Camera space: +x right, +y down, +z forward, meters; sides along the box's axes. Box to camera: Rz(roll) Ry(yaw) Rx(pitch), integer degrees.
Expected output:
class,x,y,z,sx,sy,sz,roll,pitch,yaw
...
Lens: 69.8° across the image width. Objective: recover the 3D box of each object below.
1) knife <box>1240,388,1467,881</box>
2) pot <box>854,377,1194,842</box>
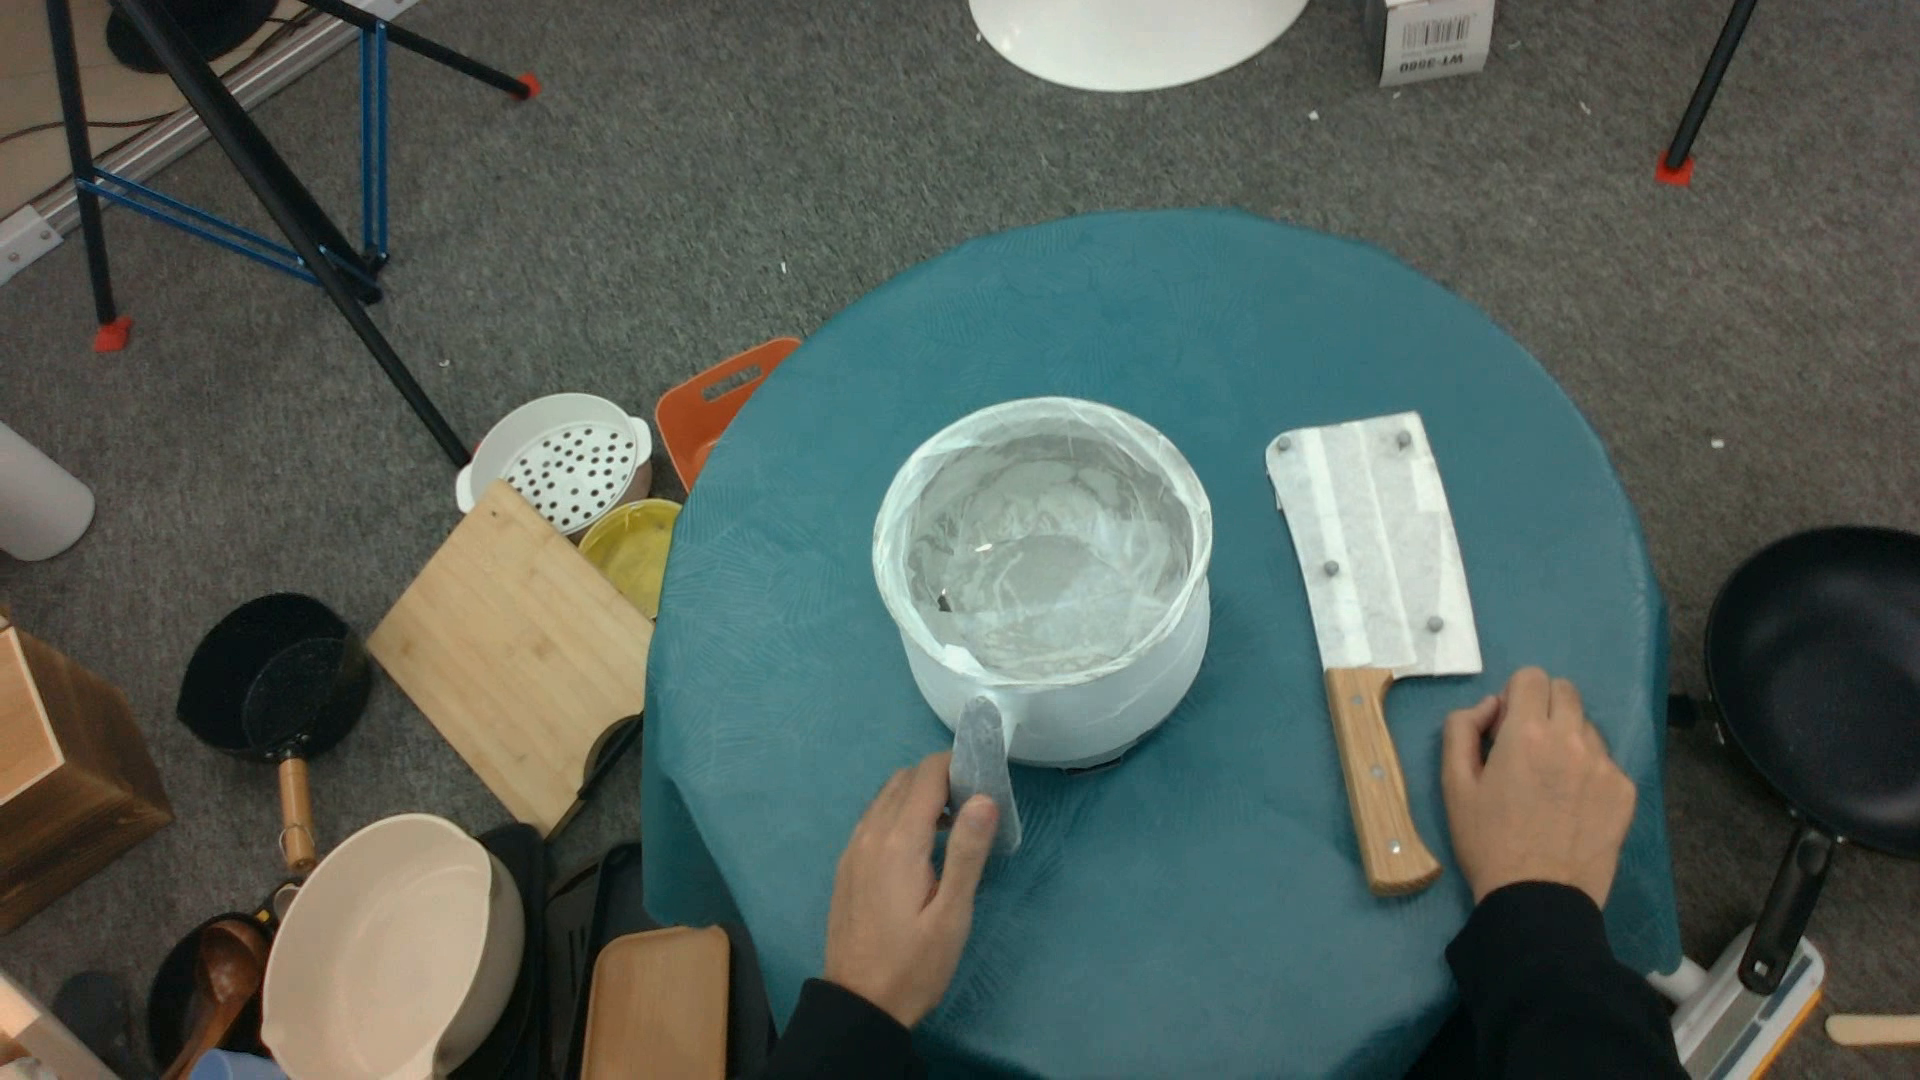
class,x,y,z,sx,sy,sz,roll,pitch,yaw
knife,0.229,0.040,0.793,0.114,0.021,0.317,-3,57,7
pot,0.033,0.042,0.753,0.178,0.136,0.234,10,62,15
